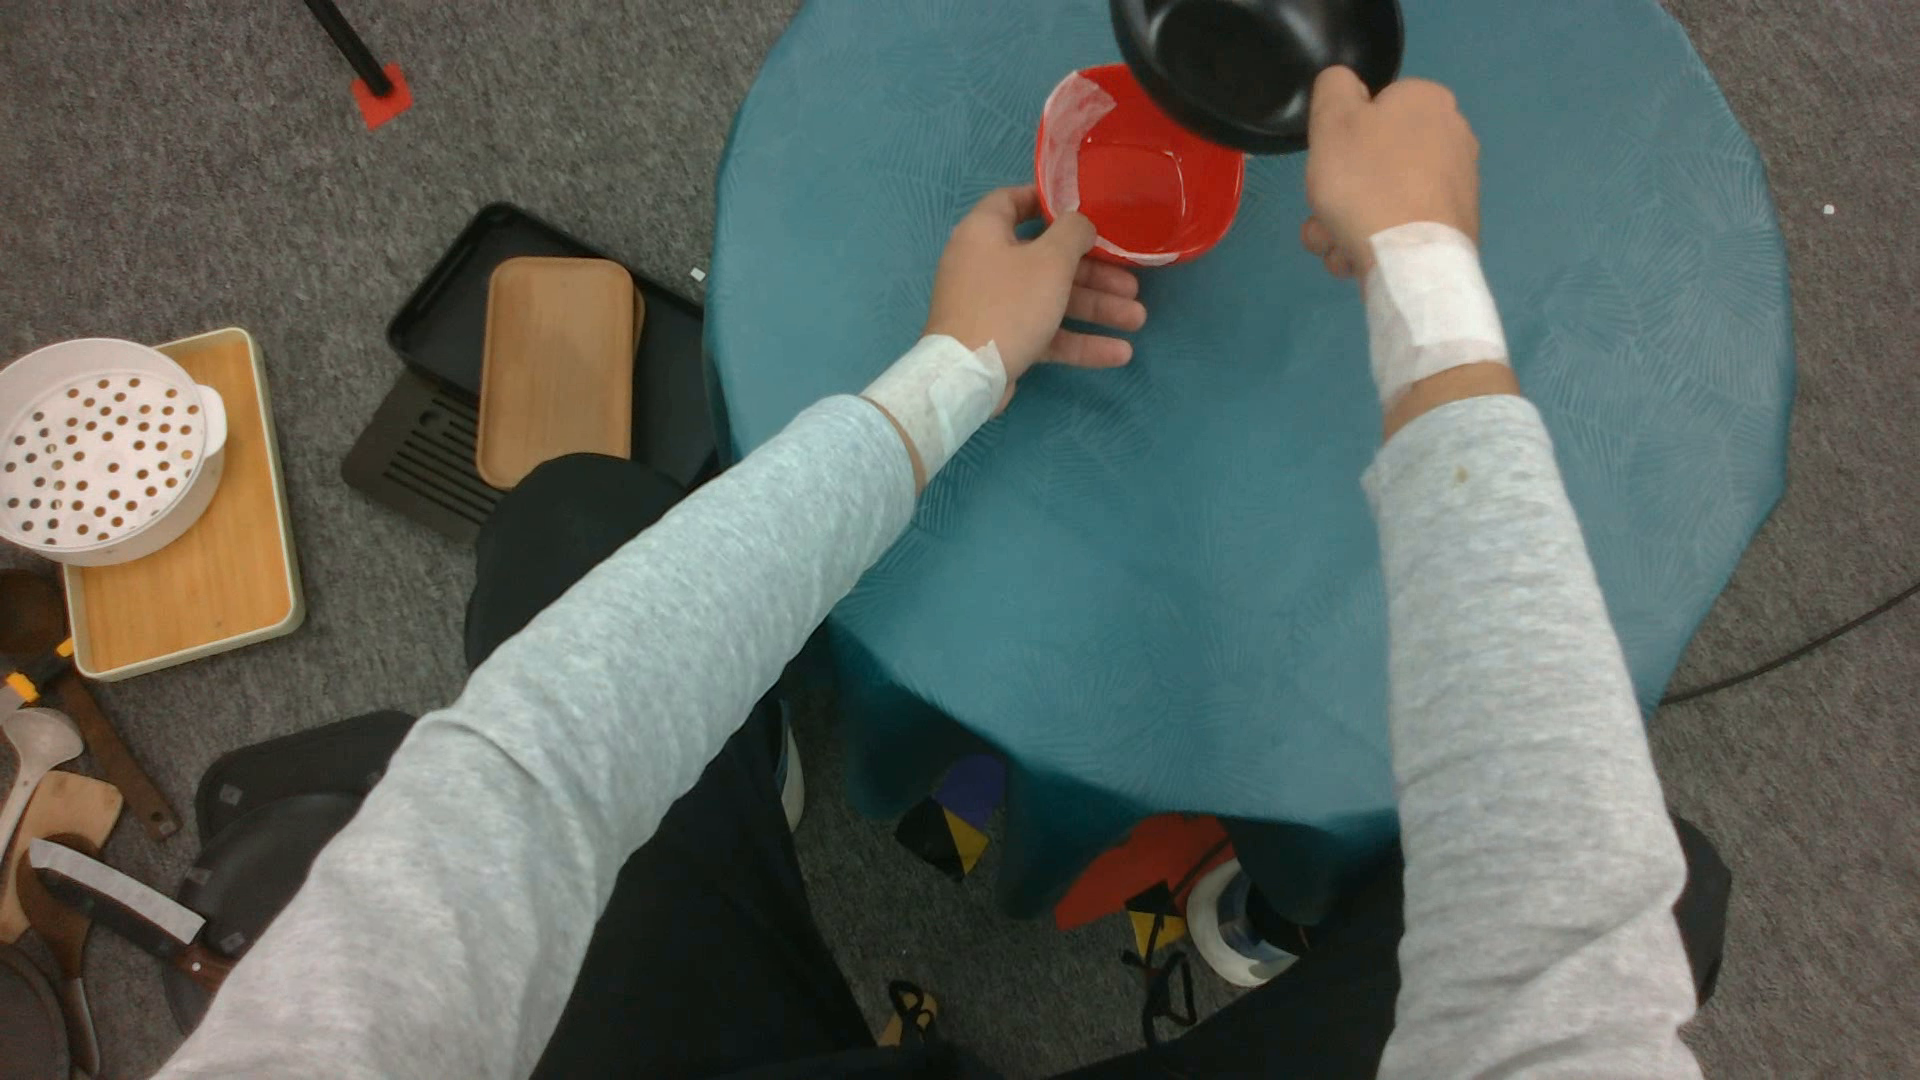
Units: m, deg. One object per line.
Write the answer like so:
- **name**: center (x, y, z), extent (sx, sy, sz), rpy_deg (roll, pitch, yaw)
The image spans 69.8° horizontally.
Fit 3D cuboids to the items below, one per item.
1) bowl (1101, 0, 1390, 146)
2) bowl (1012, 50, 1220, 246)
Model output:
- **bowl**: center (0.123, -0.237, 0.631), extent (0.140, 0.049, 0.140), rpy_deg (4, 75, -16)
- **bowl**: center (0.079, -0.201, 0.741), extent (0.119, 0.051, 0.119), rpy_deg (2, 71, -6)
